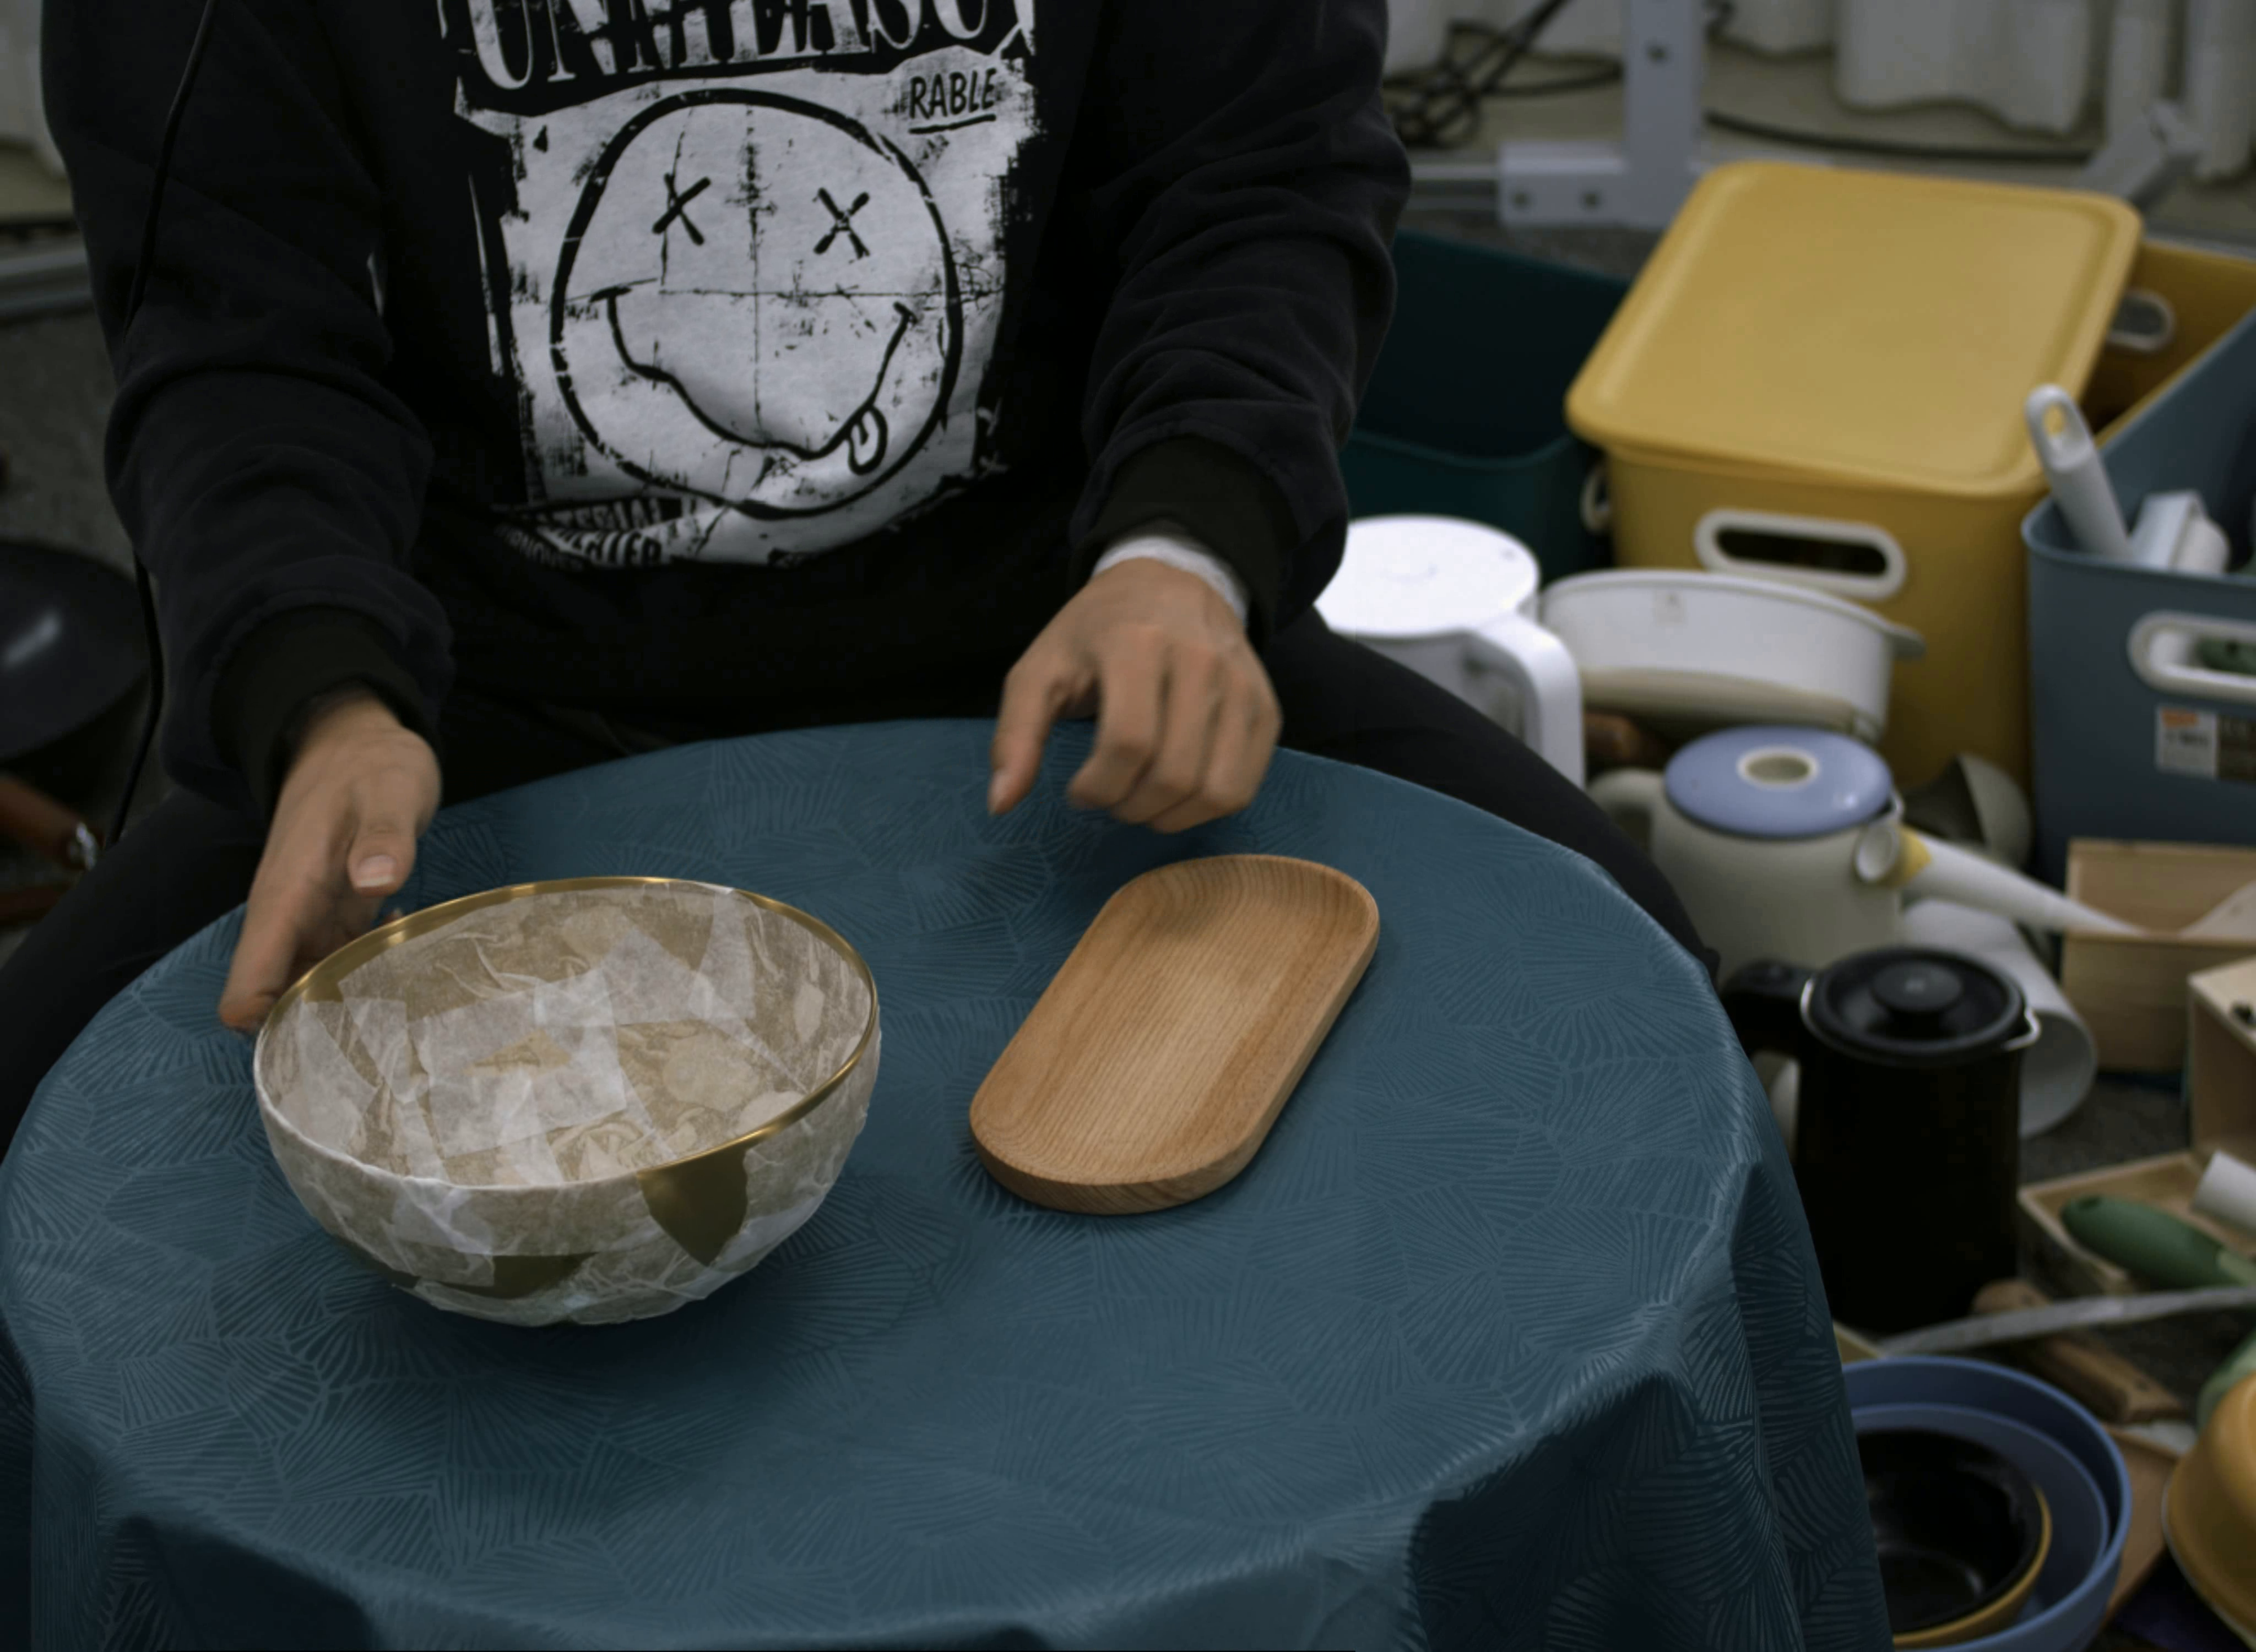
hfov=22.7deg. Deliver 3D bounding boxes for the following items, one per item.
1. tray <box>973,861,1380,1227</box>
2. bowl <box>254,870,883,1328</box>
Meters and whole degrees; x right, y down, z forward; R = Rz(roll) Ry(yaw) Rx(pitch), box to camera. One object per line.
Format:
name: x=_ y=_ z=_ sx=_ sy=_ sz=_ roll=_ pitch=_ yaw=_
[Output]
tray: x=0.019 y=0.073 z=1.938 sx=0.101 sy=0.020 sz=0.235 roll=4 pitch=30 yaw=18
bowl: x=-0.173 y=0.100 z=1.818 sx=0.213 sy=0.093 sz=0.218 roll=-4 pitch=27 yaw=2
